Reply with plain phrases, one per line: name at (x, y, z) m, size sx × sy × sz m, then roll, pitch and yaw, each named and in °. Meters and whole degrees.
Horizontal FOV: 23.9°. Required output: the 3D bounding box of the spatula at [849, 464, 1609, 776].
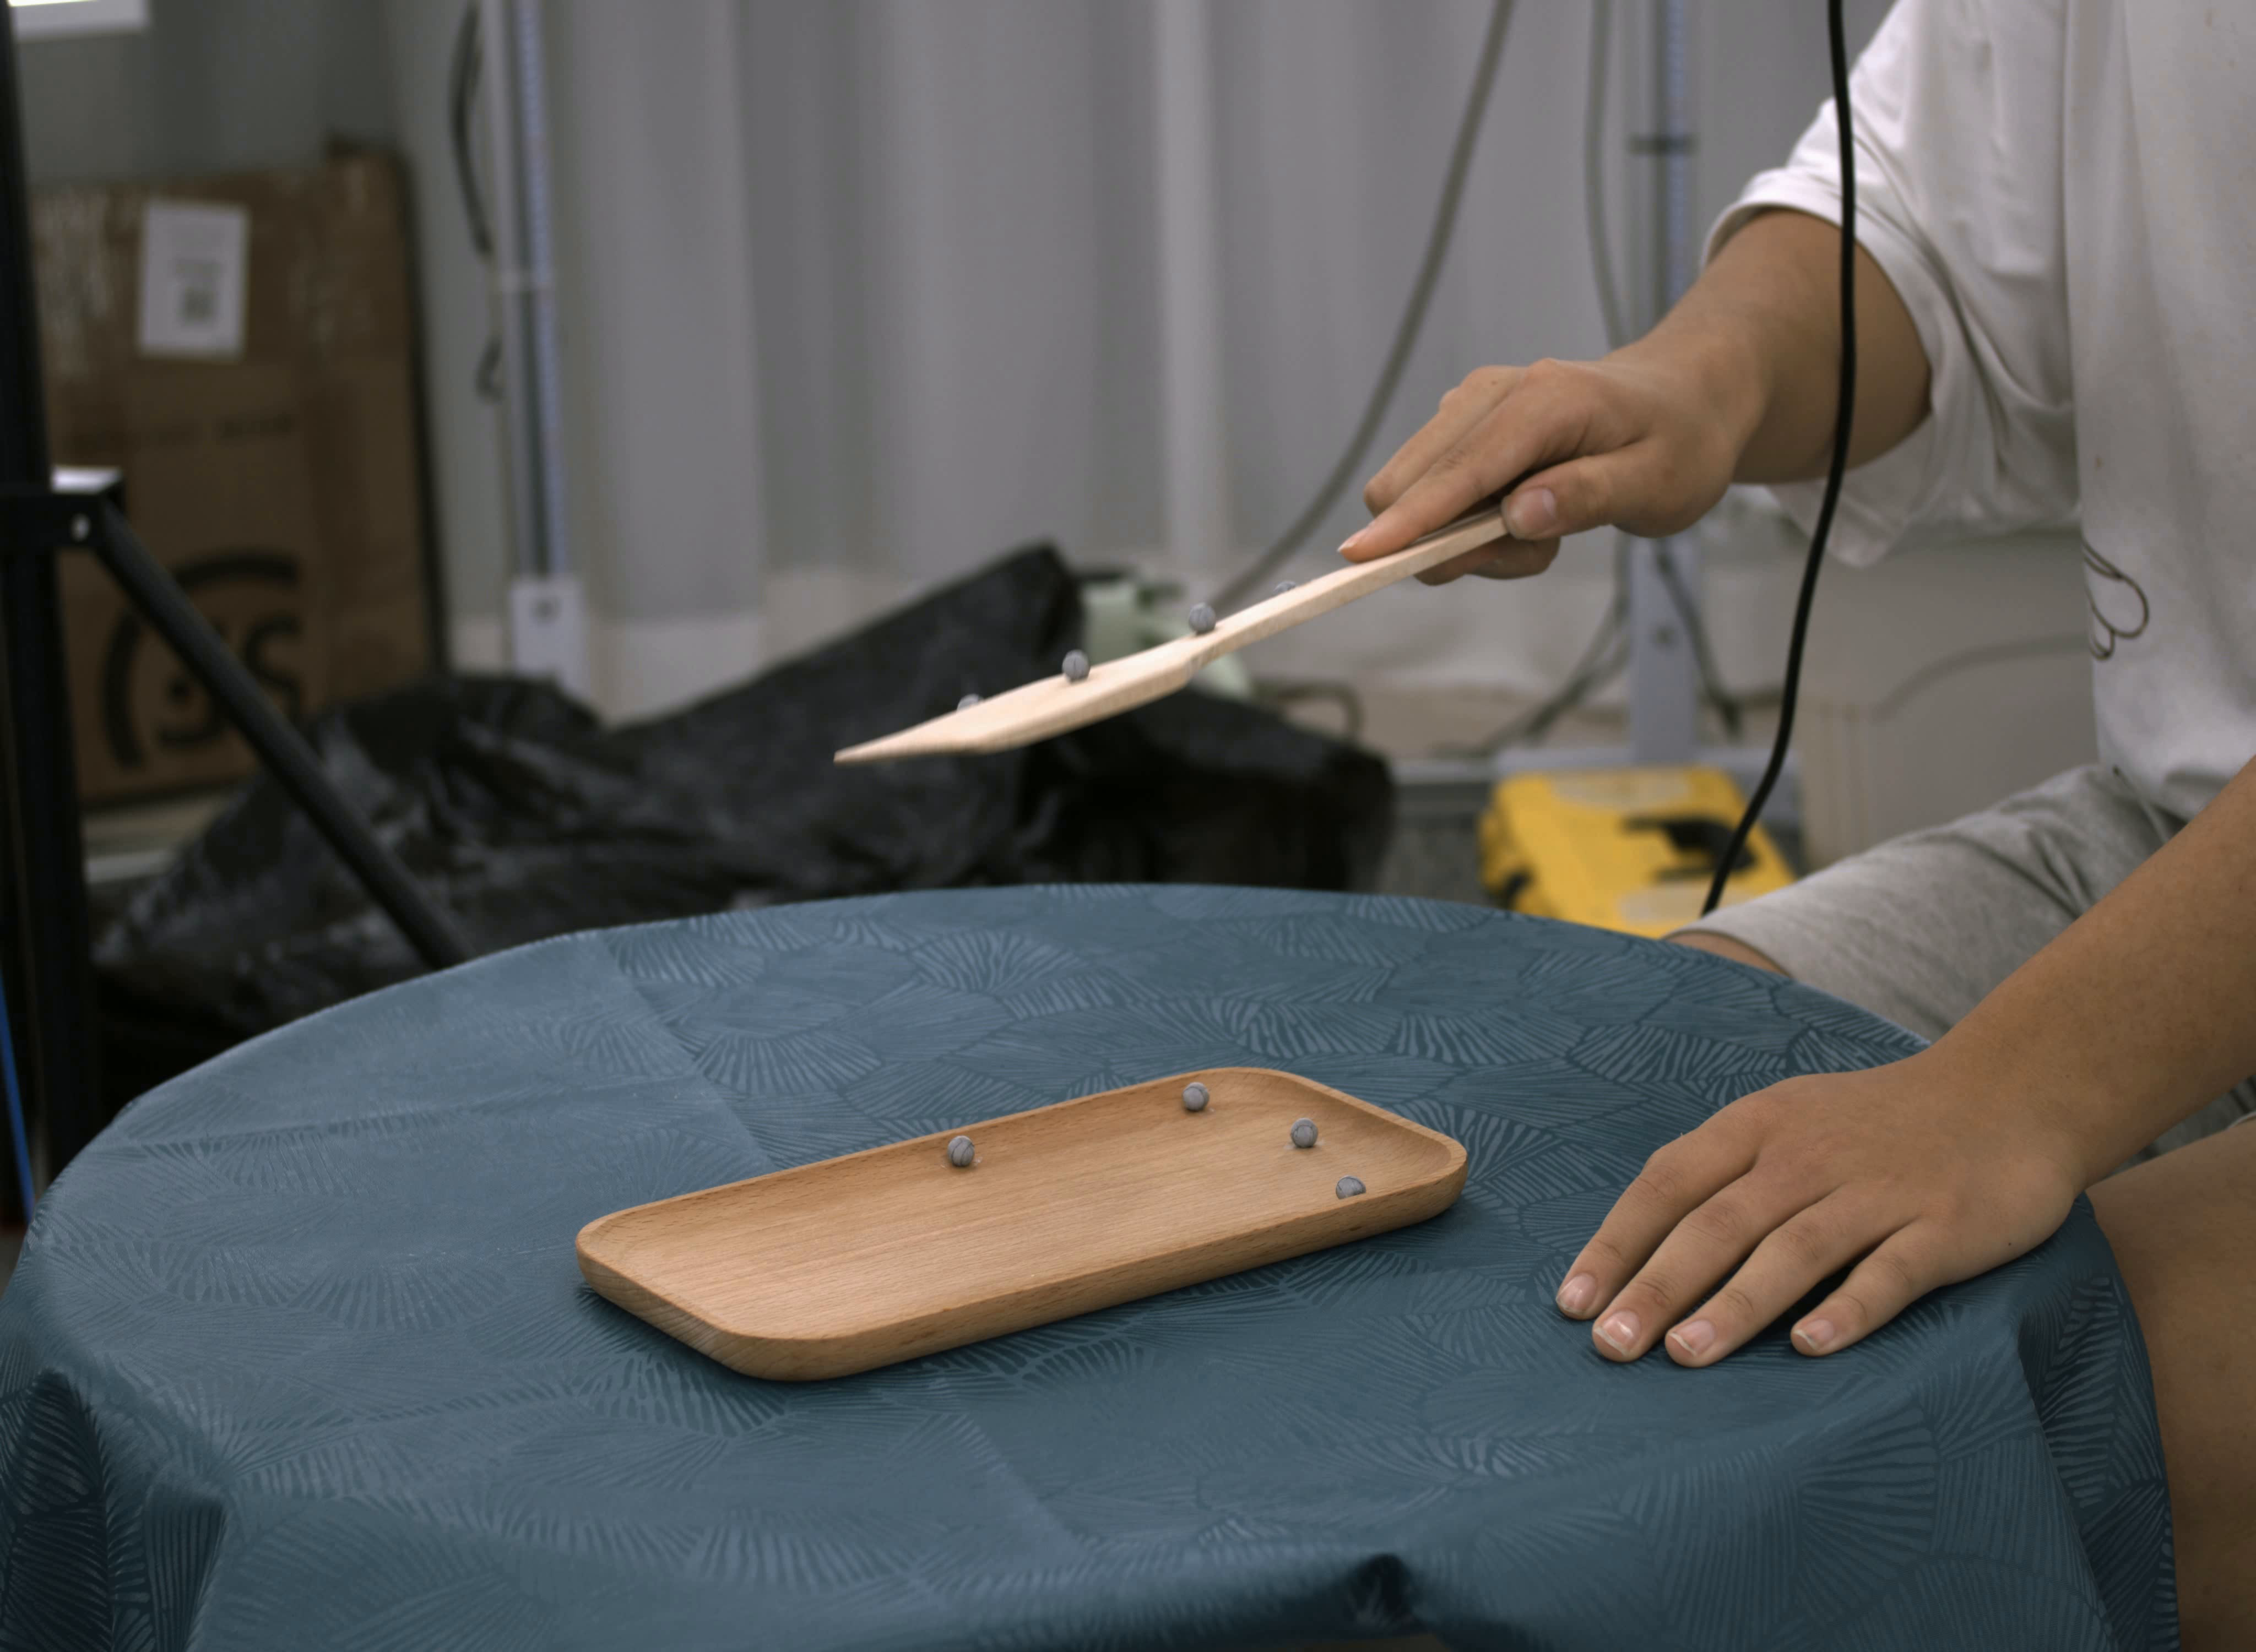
spatula at (0.042, -0.062, 1.593) m, size 0.287 × 0.010 × 0.074 m, roll -25°, pitch 14°, yaw -37°

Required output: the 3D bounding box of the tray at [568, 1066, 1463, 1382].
tray at (-0.030, 0.112, 1.521) m, size 0.245 × 0.023 × 0.133 m, roll -12°, pitch 16°, yaw -30°
